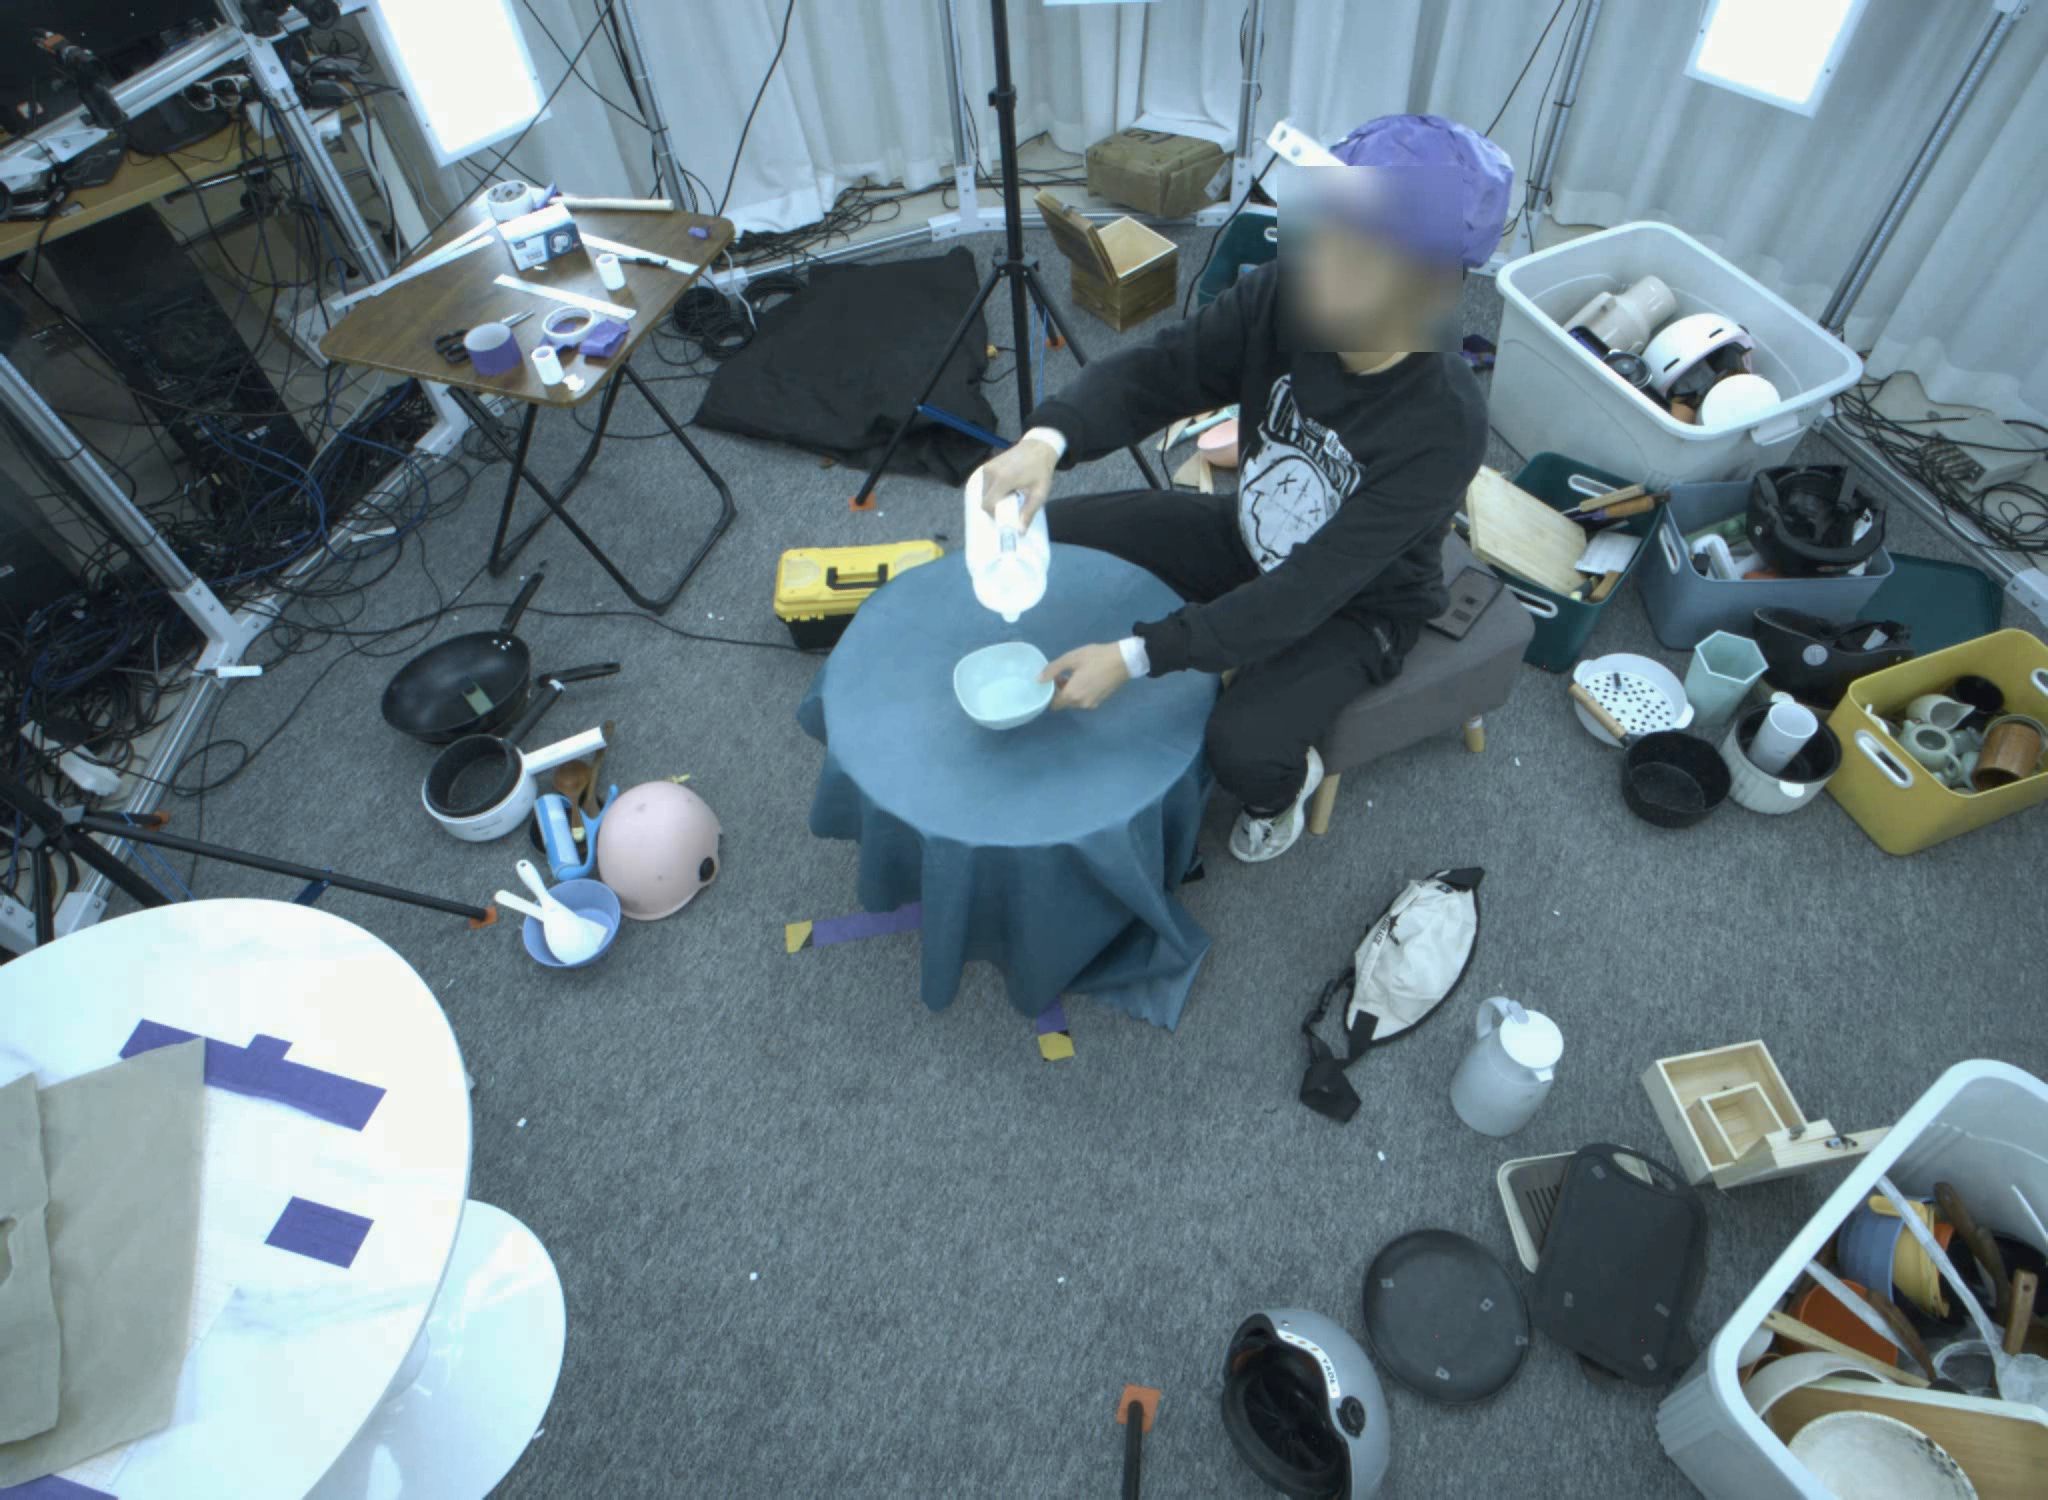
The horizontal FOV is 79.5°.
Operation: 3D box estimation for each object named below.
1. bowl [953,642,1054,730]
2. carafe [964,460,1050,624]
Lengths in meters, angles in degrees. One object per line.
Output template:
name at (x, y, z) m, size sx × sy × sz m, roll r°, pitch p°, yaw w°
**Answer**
bowl at (-0.027, -0.082, 1.755) m, size 0.151 × 0.059 × 0.150 m, roll -1°, pitch 53°, yaw 3°
carafe at (-0.029, -0.317, 1.719) m, size 0.124 × 0.175 × 0.265 m, roll -3°, pitch 39°, yaw 1°
